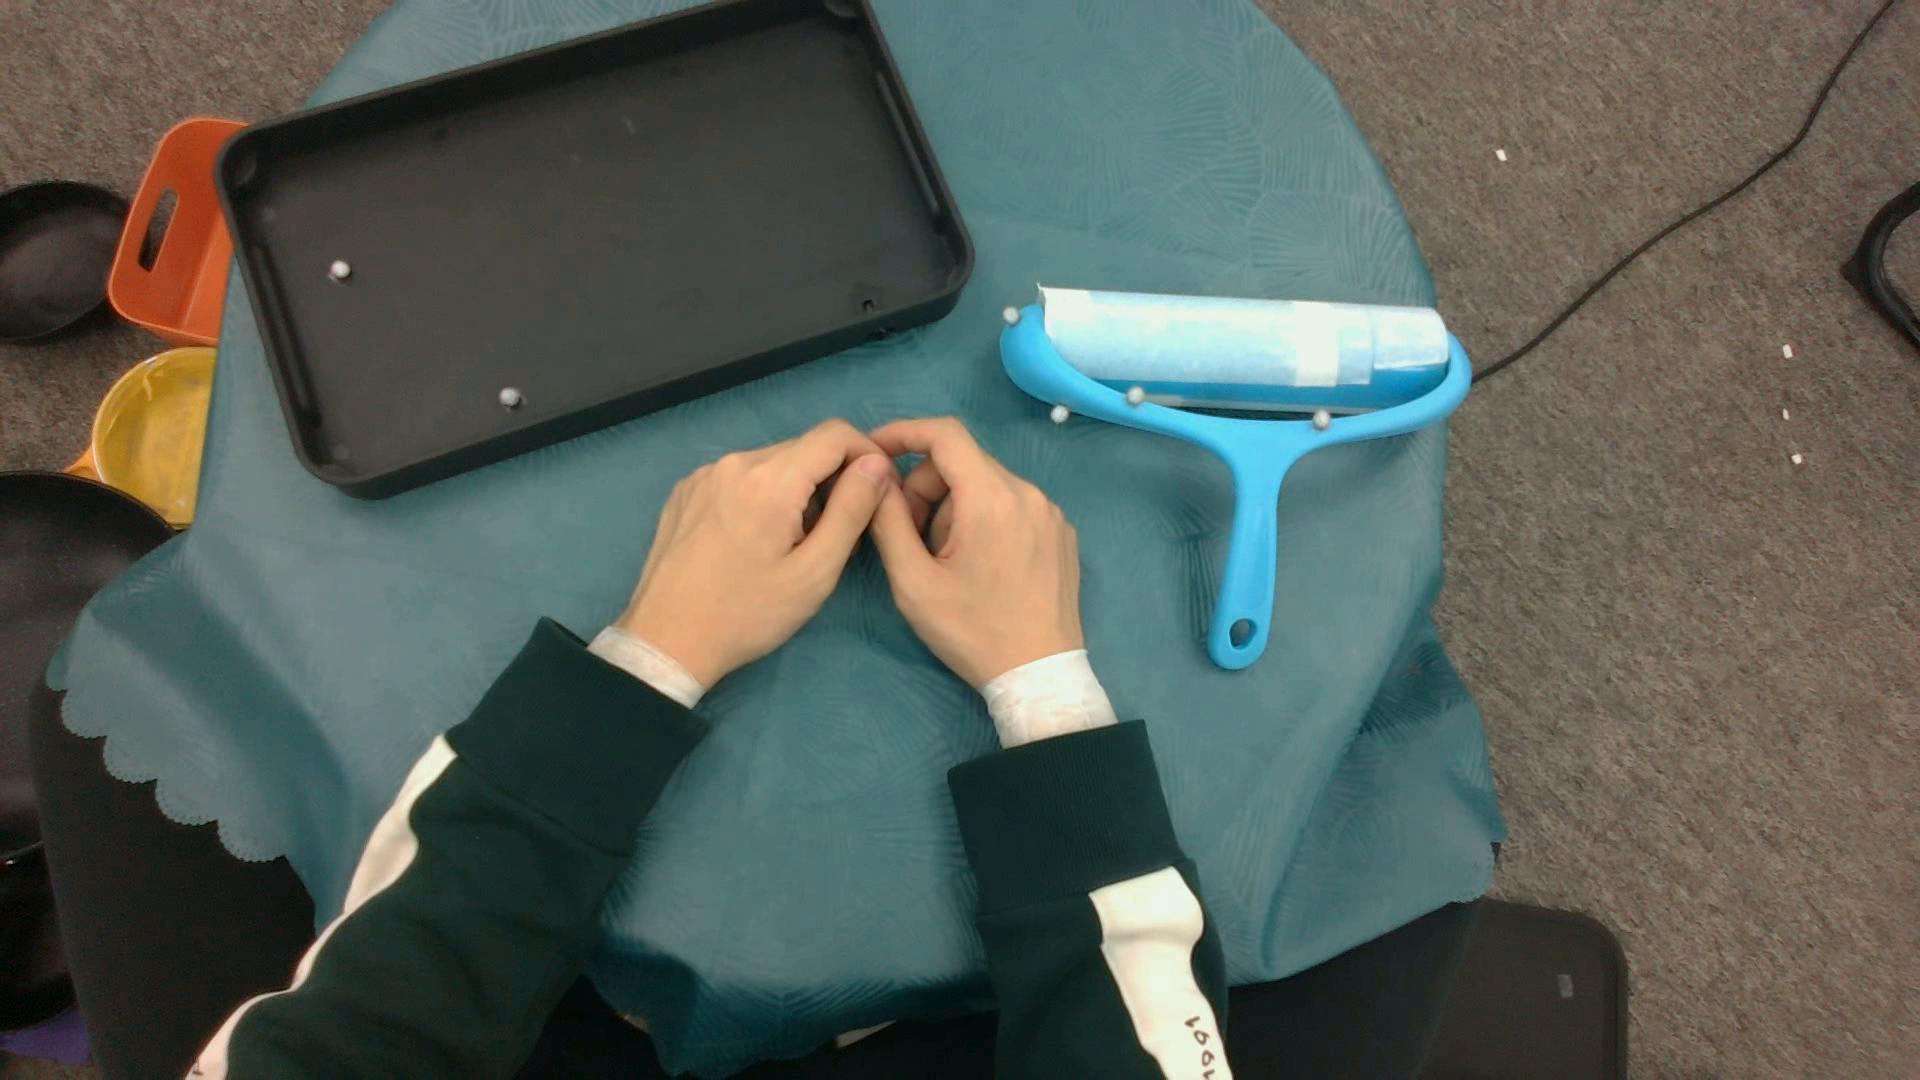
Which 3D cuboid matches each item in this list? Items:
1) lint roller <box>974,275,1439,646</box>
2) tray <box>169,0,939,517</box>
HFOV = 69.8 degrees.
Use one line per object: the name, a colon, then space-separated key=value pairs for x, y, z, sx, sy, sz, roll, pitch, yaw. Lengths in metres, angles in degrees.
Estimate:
lint roller: x=0.126 y=-0.044 z=0.655 sx=0.229 sy=0.067 sz=0.180 roll=-2 pitch=73 yaw=-10
tray: x=-0.185 y=-0.146 z=0.657 sx=0.318 sy=0.037 sz=0.184 roll=-23 pitch=79 yaw=-14
